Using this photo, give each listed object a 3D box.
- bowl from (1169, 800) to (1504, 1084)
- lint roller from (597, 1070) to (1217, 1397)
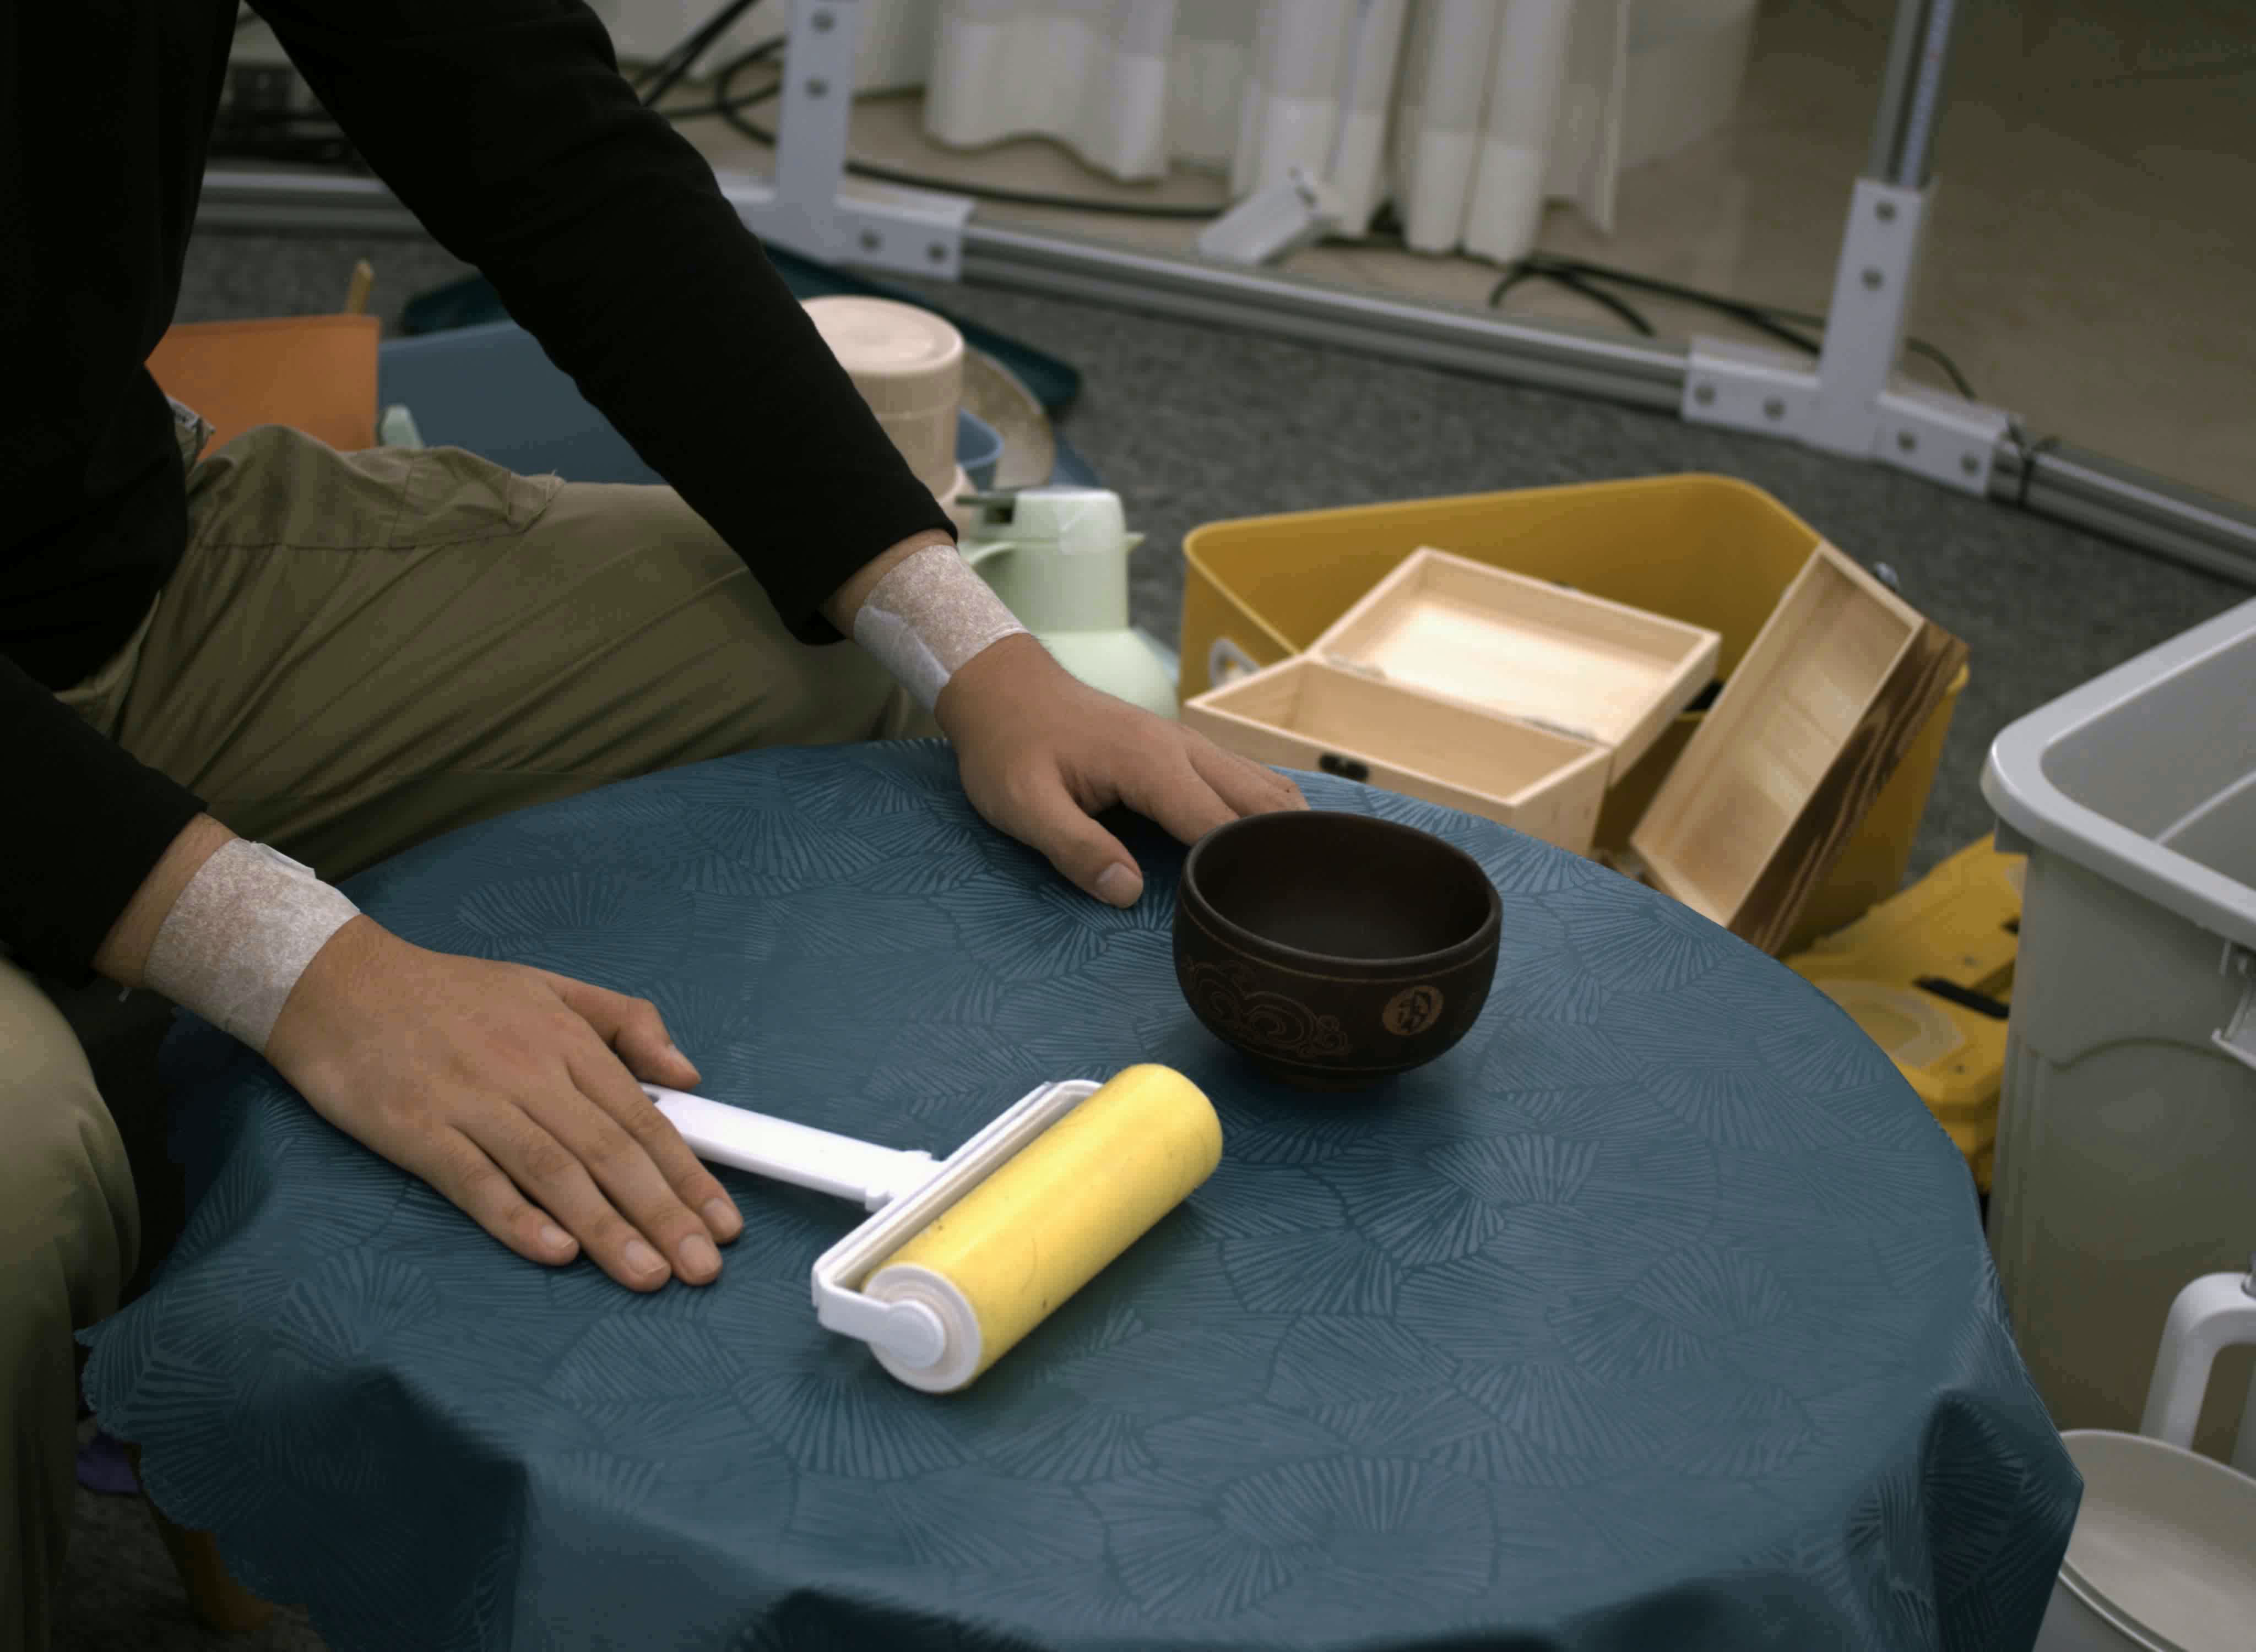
[{"bbox_3d":[0.071,0.048,1.884,0.117,0.069,0.119,6,27,-3],"label":"bowl"},{"bbox_3d":[-0.090,0.107,1.758,0.193,0.051,0.174,22,30,20],"label":"lint roller"}]
